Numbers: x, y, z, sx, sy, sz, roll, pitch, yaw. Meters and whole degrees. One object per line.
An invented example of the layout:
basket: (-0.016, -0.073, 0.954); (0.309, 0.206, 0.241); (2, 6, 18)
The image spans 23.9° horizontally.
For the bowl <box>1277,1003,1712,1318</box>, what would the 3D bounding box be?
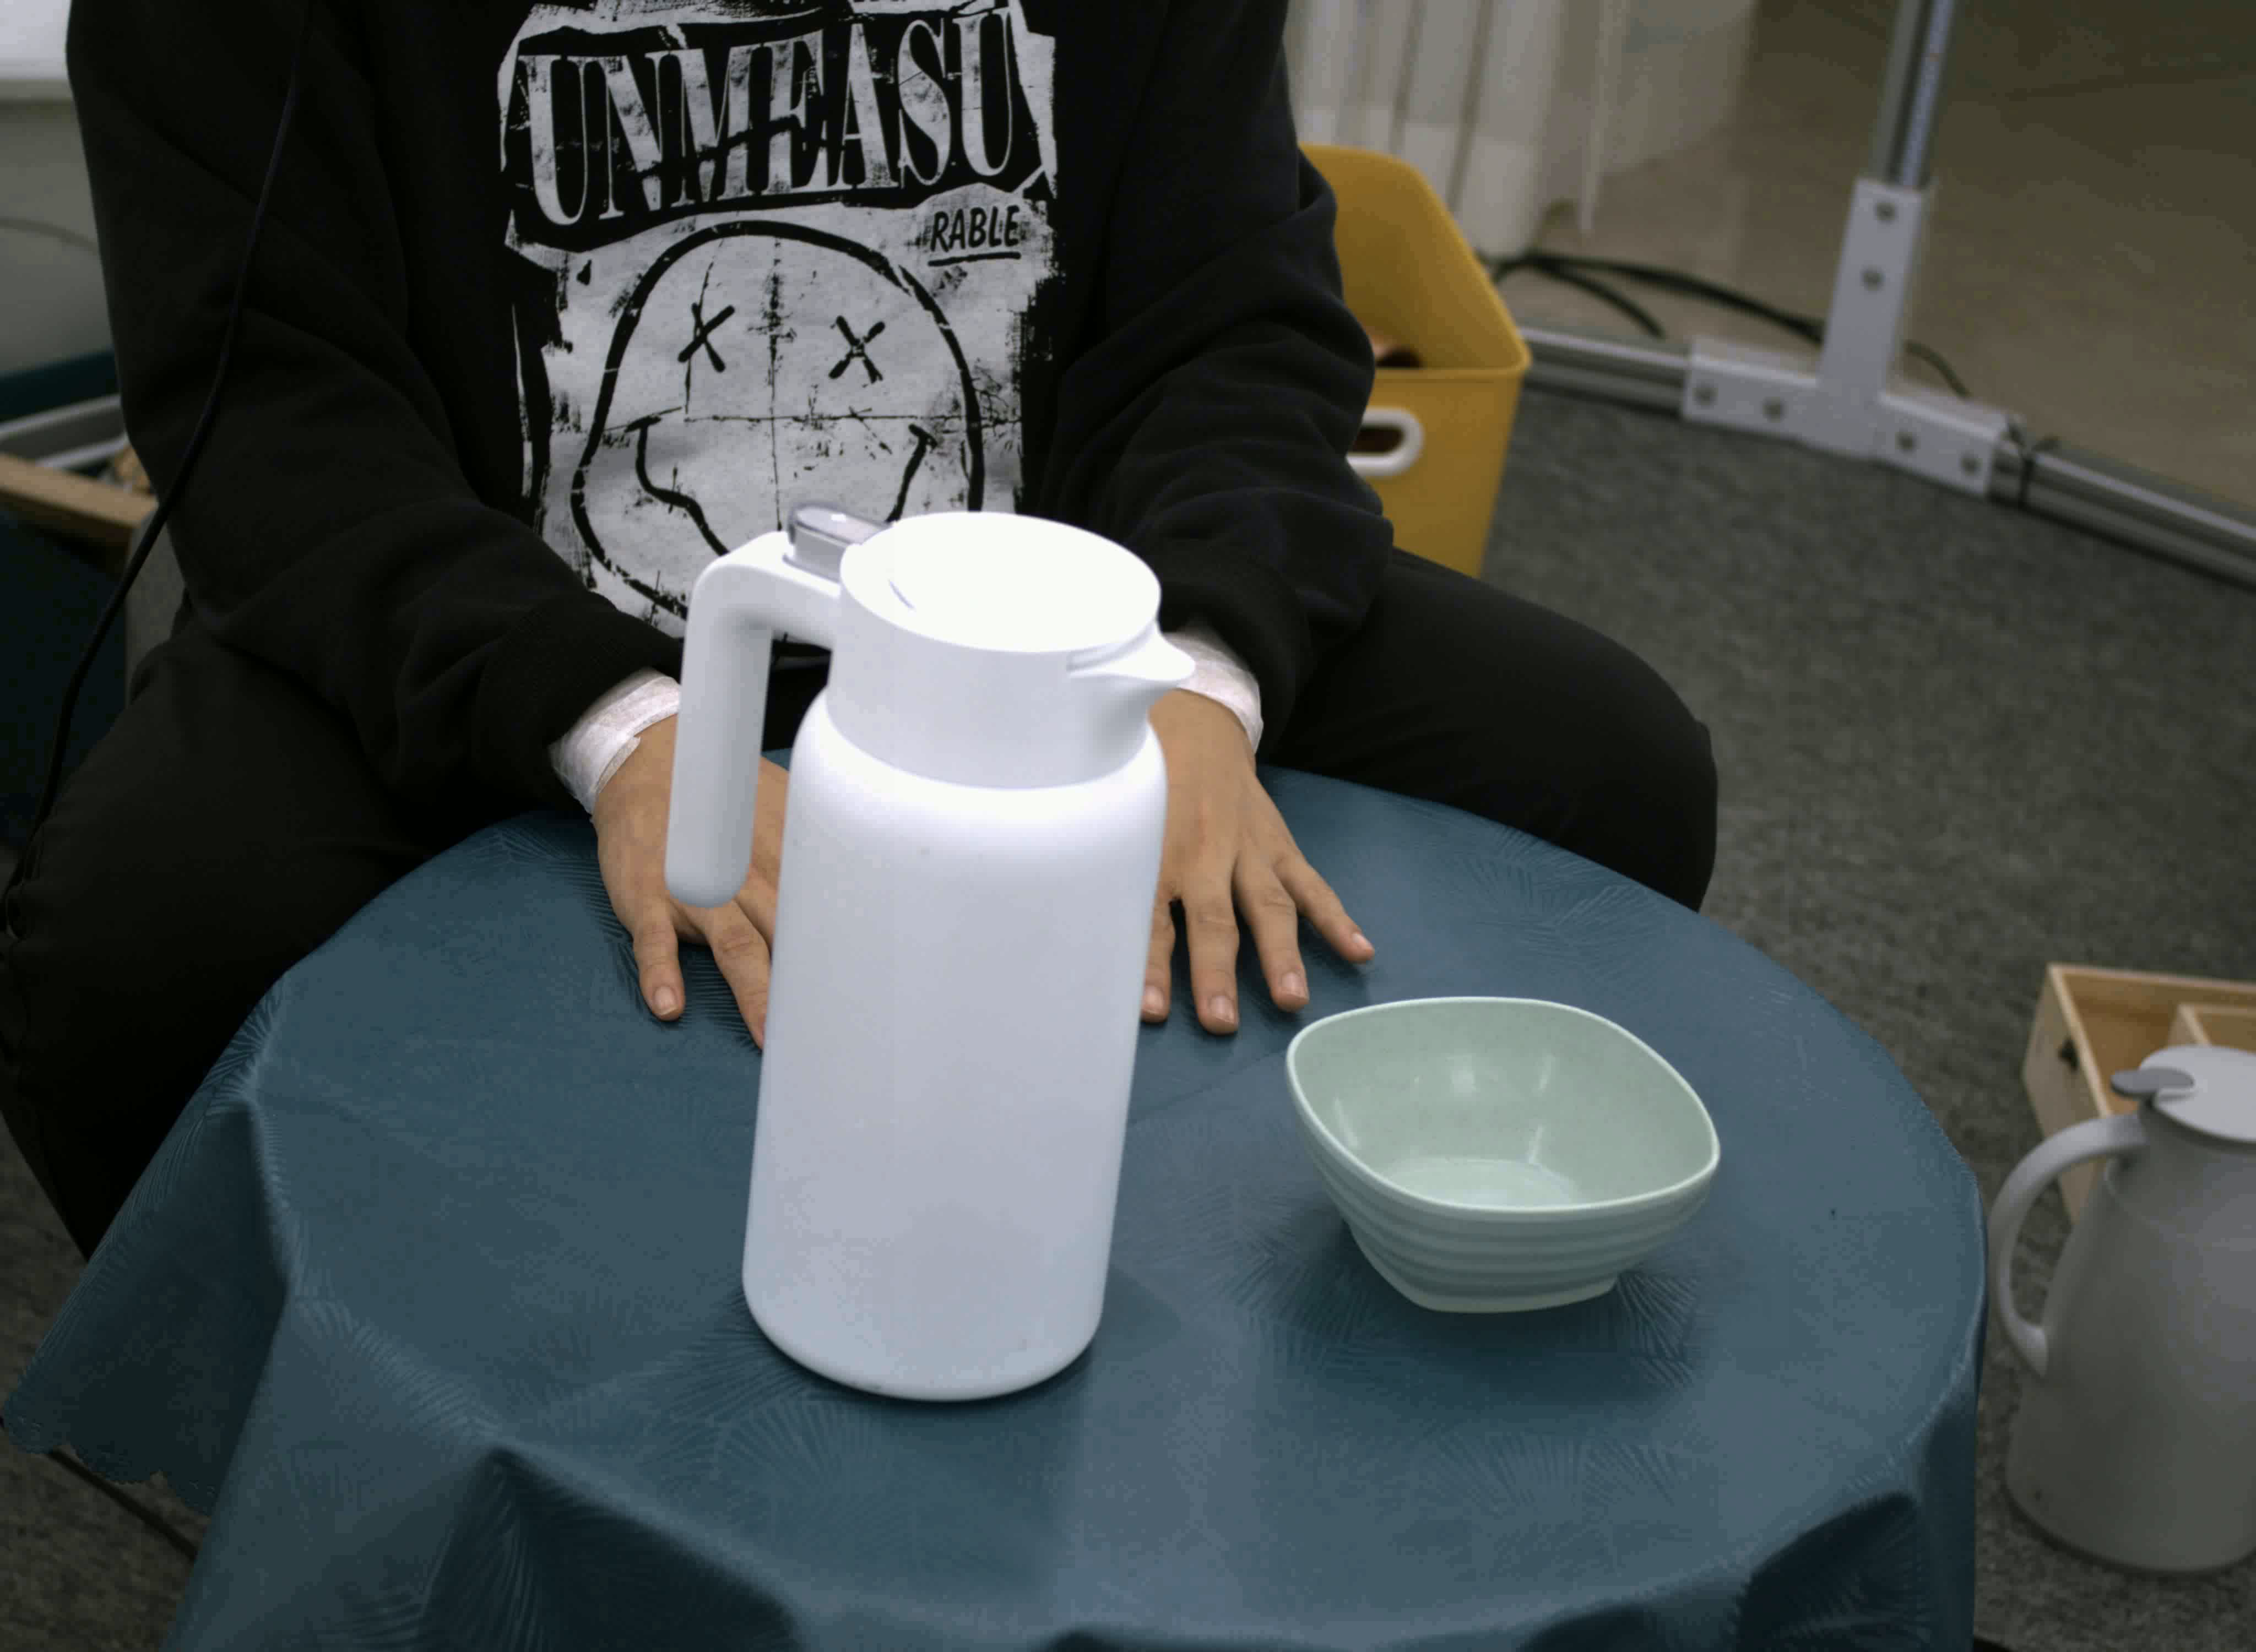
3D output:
bowl: (0.119, 0.118, 1.785); (0.151, 0.058, 0.152); (5, 26, -3)

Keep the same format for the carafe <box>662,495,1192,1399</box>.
carafe: (-0.070, 0.035, 1.670); (0.173, 0.268, 0.123); (20, 31, 24)
